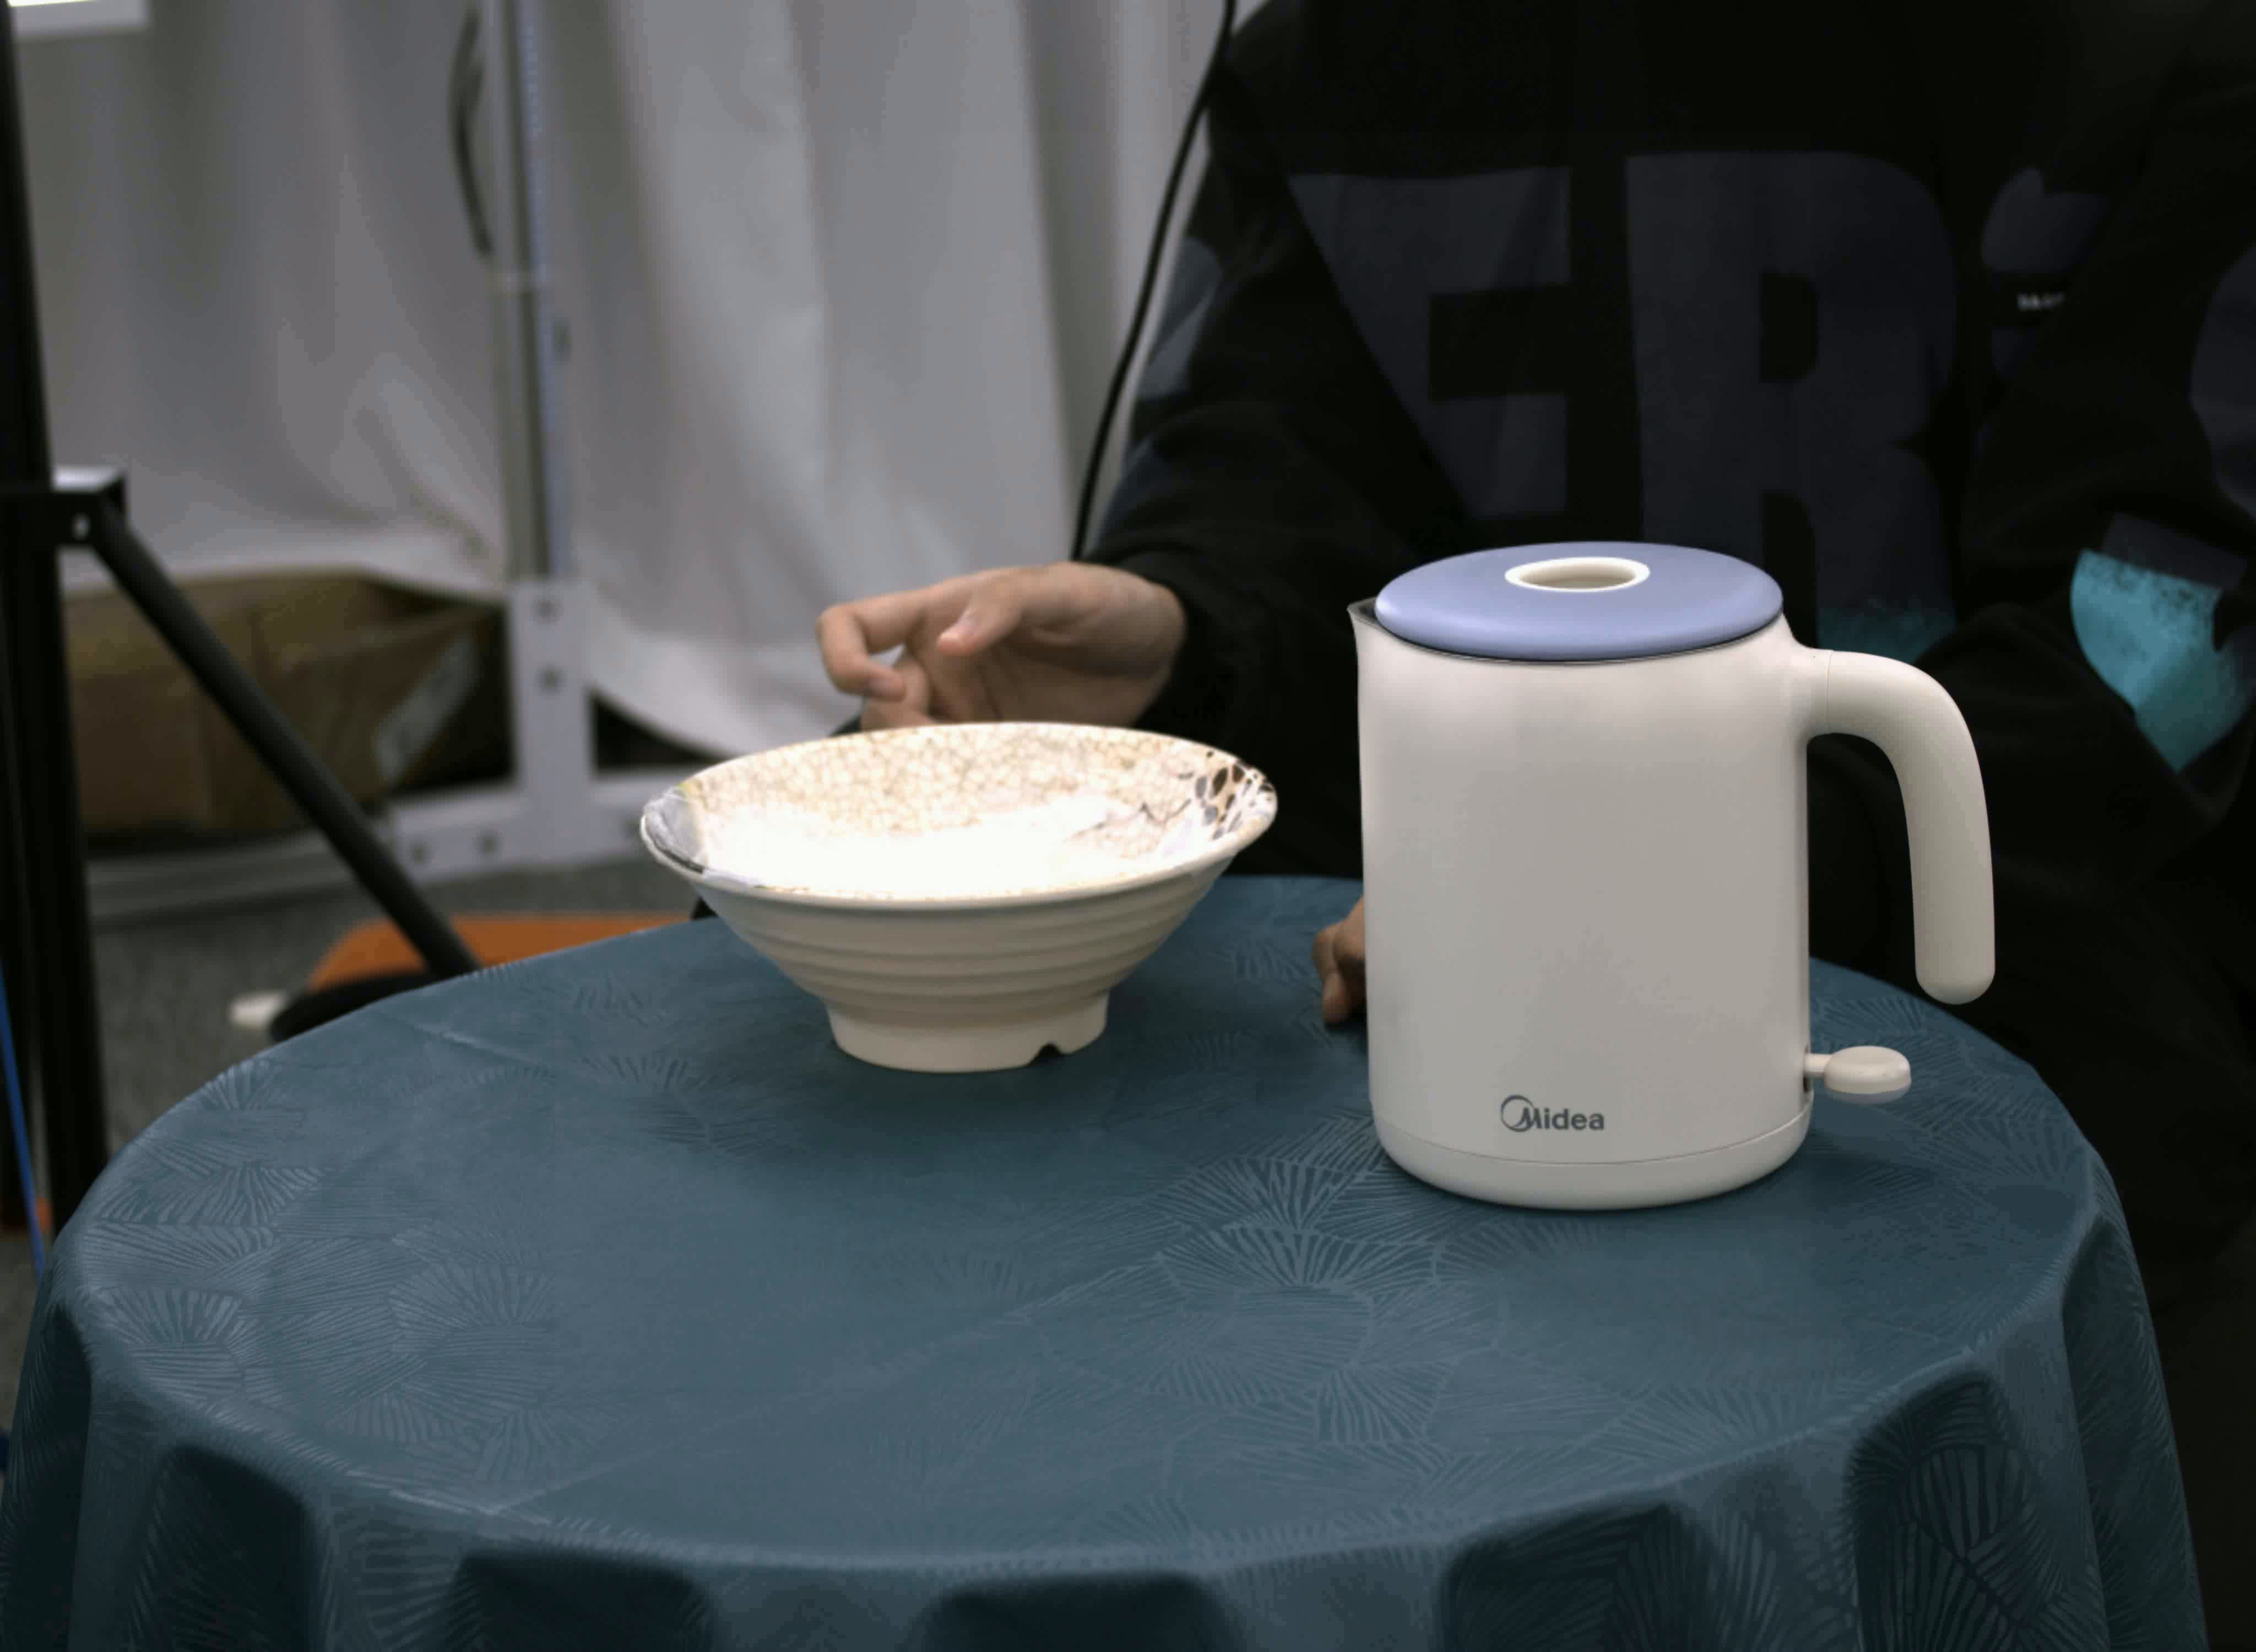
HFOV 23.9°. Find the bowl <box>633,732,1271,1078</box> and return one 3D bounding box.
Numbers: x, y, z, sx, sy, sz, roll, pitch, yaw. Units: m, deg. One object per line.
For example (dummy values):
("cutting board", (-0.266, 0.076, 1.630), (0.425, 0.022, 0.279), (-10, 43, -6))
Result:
("bowl", (-0.055, 0.031, 1.702), (0.203, 0.078, 0.205), (-1, 14, -1))

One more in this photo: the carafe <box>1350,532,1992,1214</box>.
("carafe", (0.158, 0.015, 1.549), (0.192, 0.182, 0.131), (4, 17, 14))
